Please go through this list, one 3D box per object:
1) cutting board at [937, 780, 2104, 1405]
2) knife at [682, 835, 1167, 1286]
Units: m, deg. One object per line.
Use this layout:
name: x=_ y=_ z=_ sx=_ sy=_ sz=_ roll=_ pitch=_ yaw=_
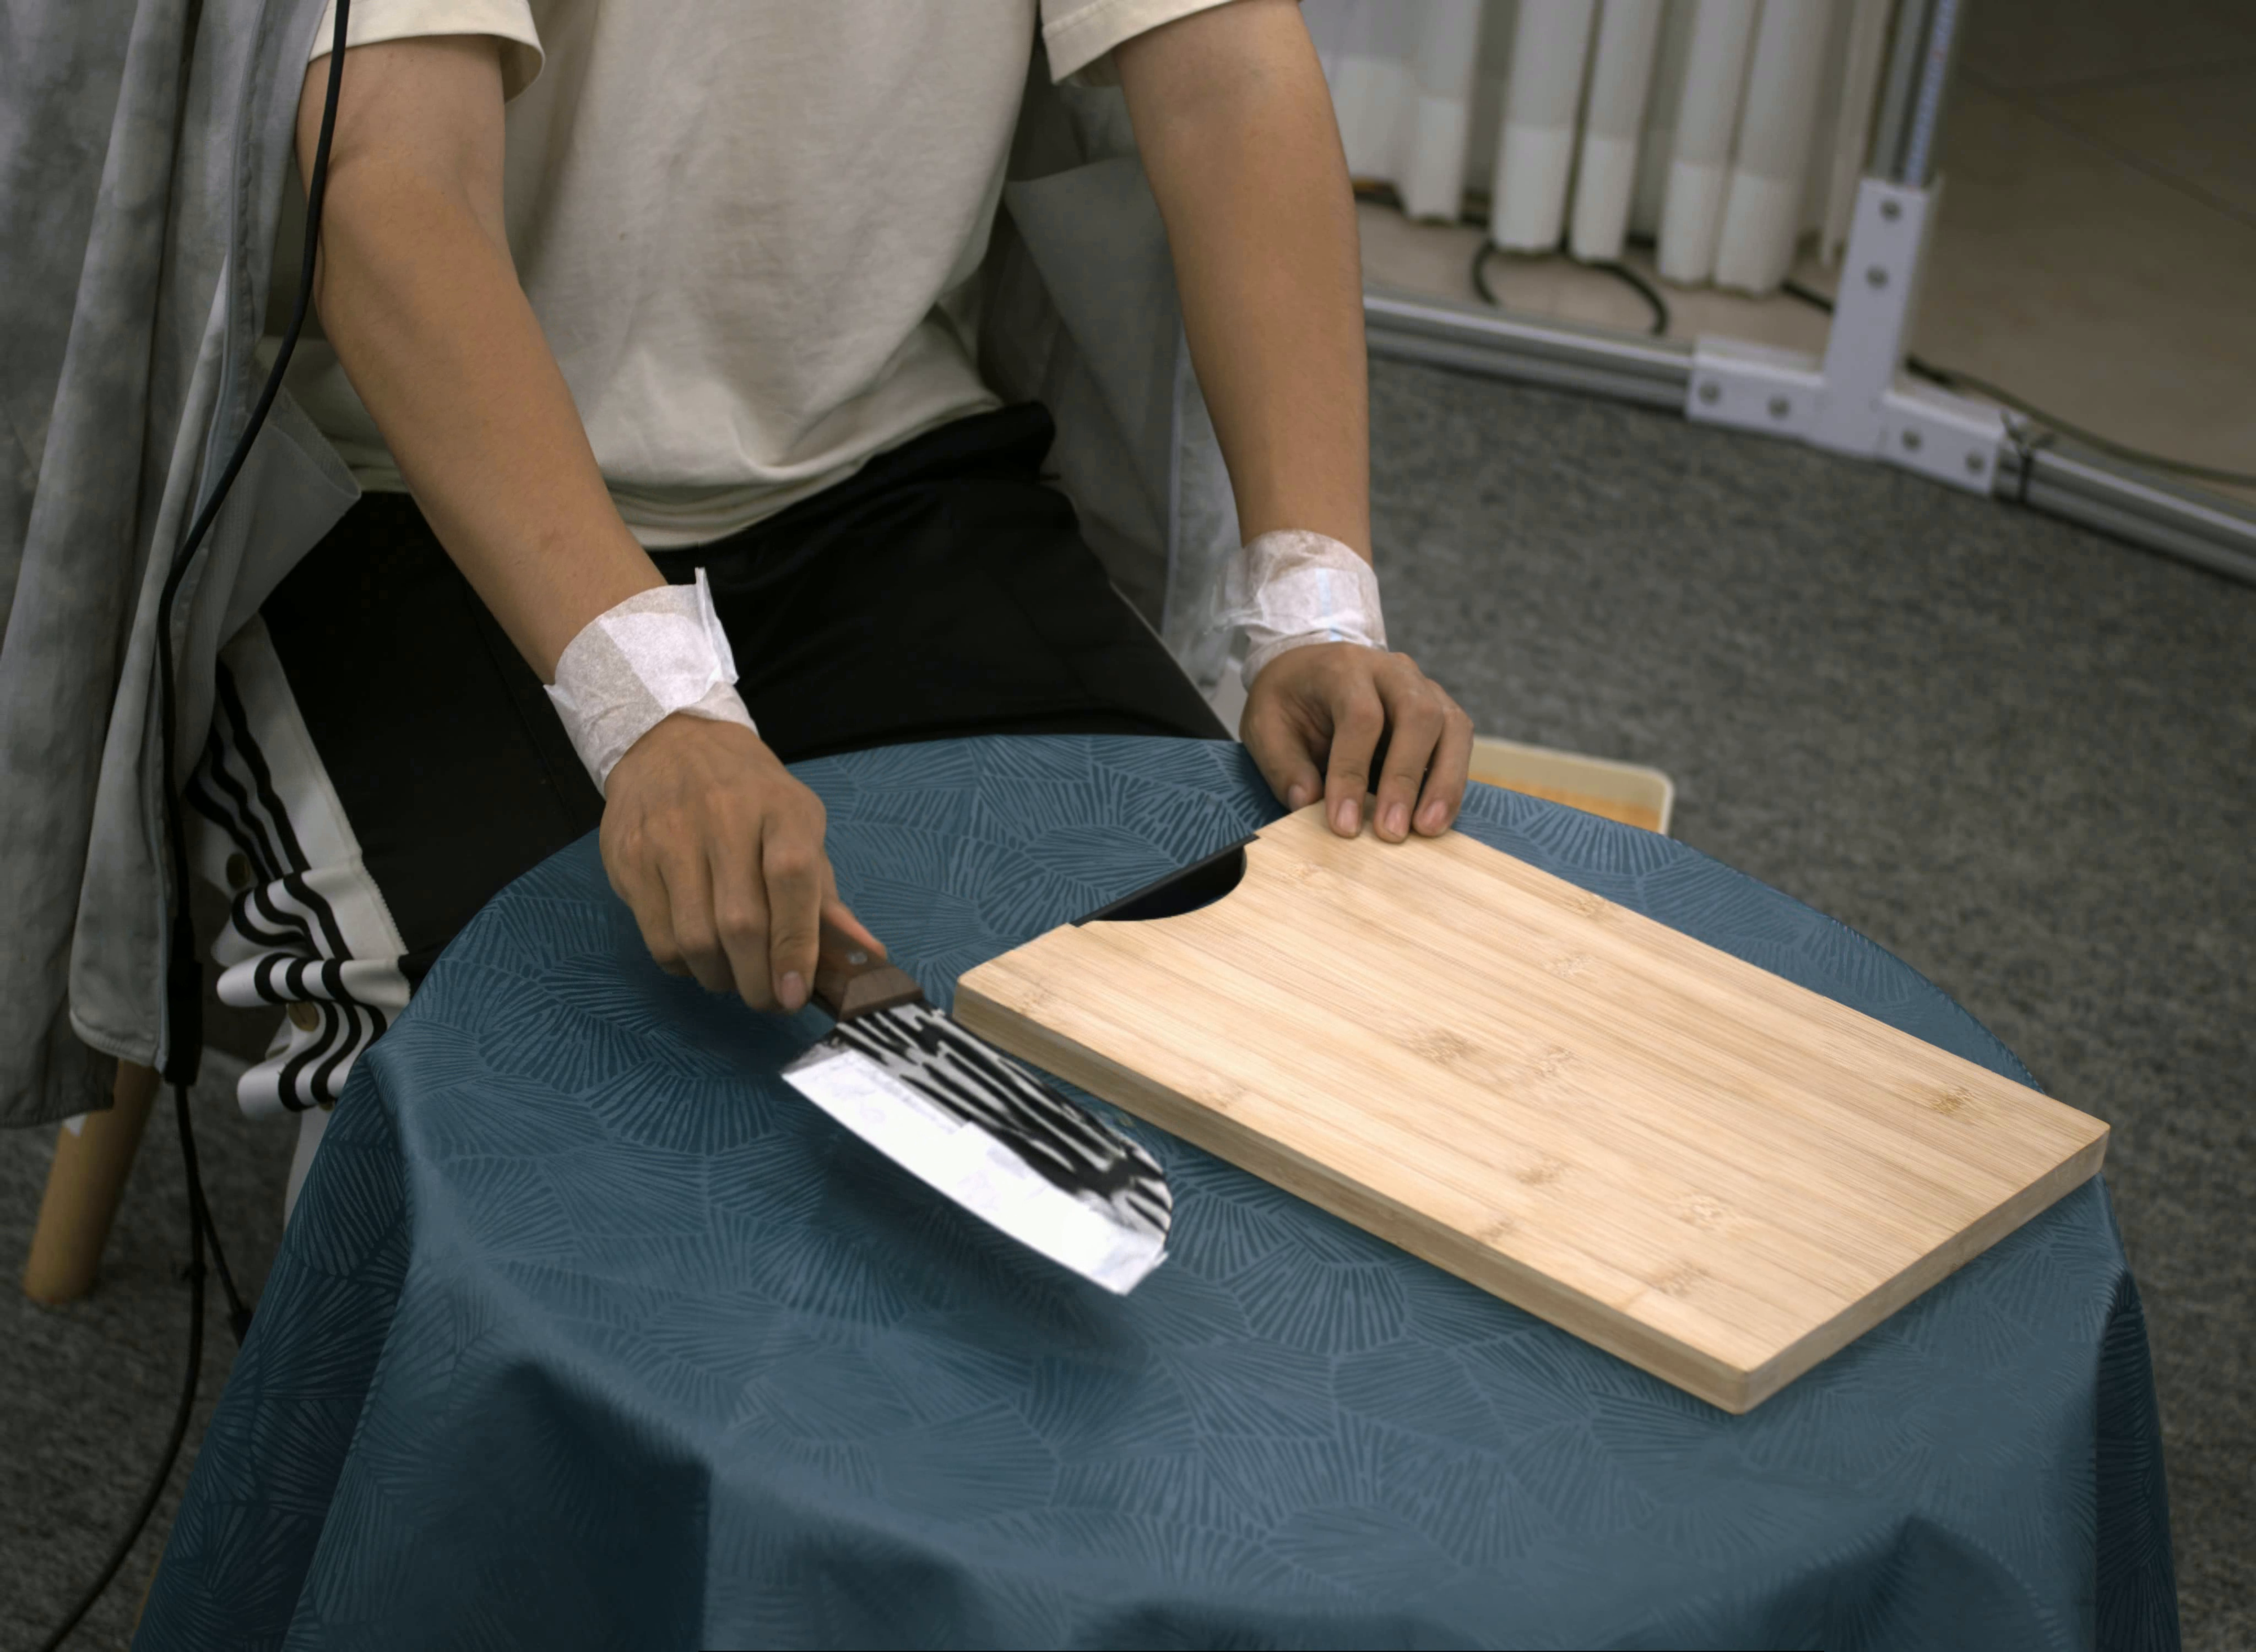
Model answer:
cutting board: x=0.138 y=0.087 z=1.891 sx=0.351 sy=0.023 sz=0.250 roll=24 pitch=31 yaw=31
knife: x=-0.078 y=0.077 z=1.787 sx=0.068 sy=0.024 sz=0.302 roll=-22 pitch=37 yaw=-31
